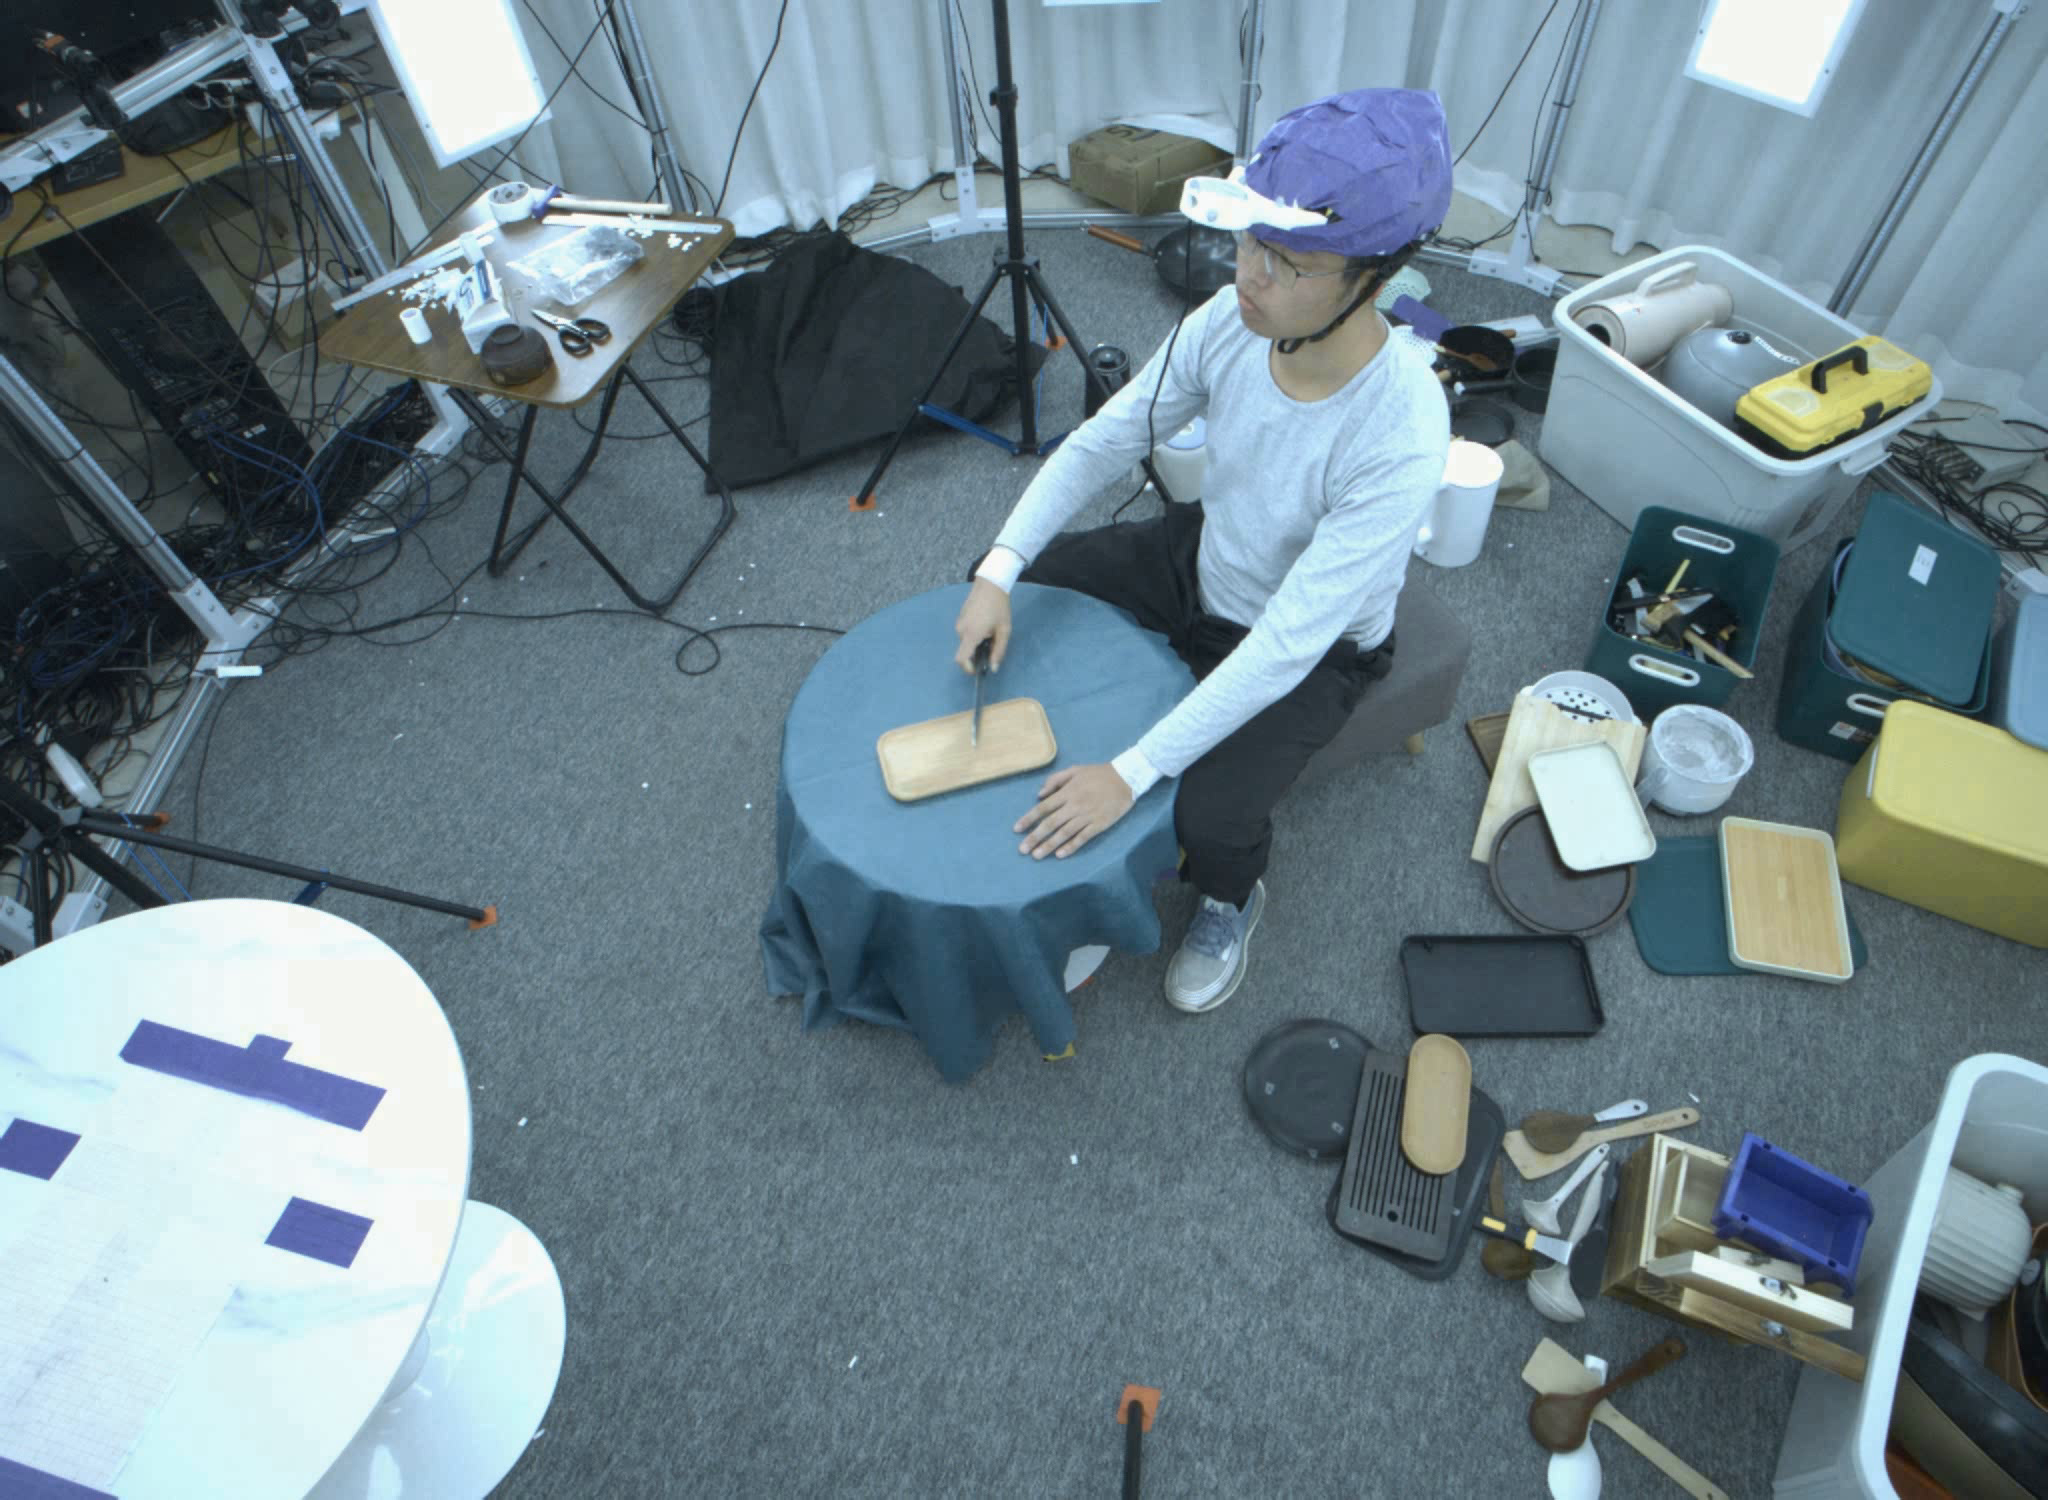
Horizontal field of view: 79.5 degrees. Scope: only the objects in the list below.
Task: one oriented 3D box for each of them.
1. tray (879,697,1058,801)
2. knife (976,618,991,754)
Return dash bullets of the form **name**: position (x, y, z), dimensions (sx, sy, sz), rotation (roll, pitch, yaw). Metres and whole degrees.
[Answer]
- **tray**: position (-0.082, -0.002, 1.788), dimensions (0.252, 0.023, 0.128), rotation (-13, 58, -9)
- **knife**: position (-0.062, -0.098, 1.800), dimensions (0.016, 0.025, 0.236), rotation (-18, 56, 29)
